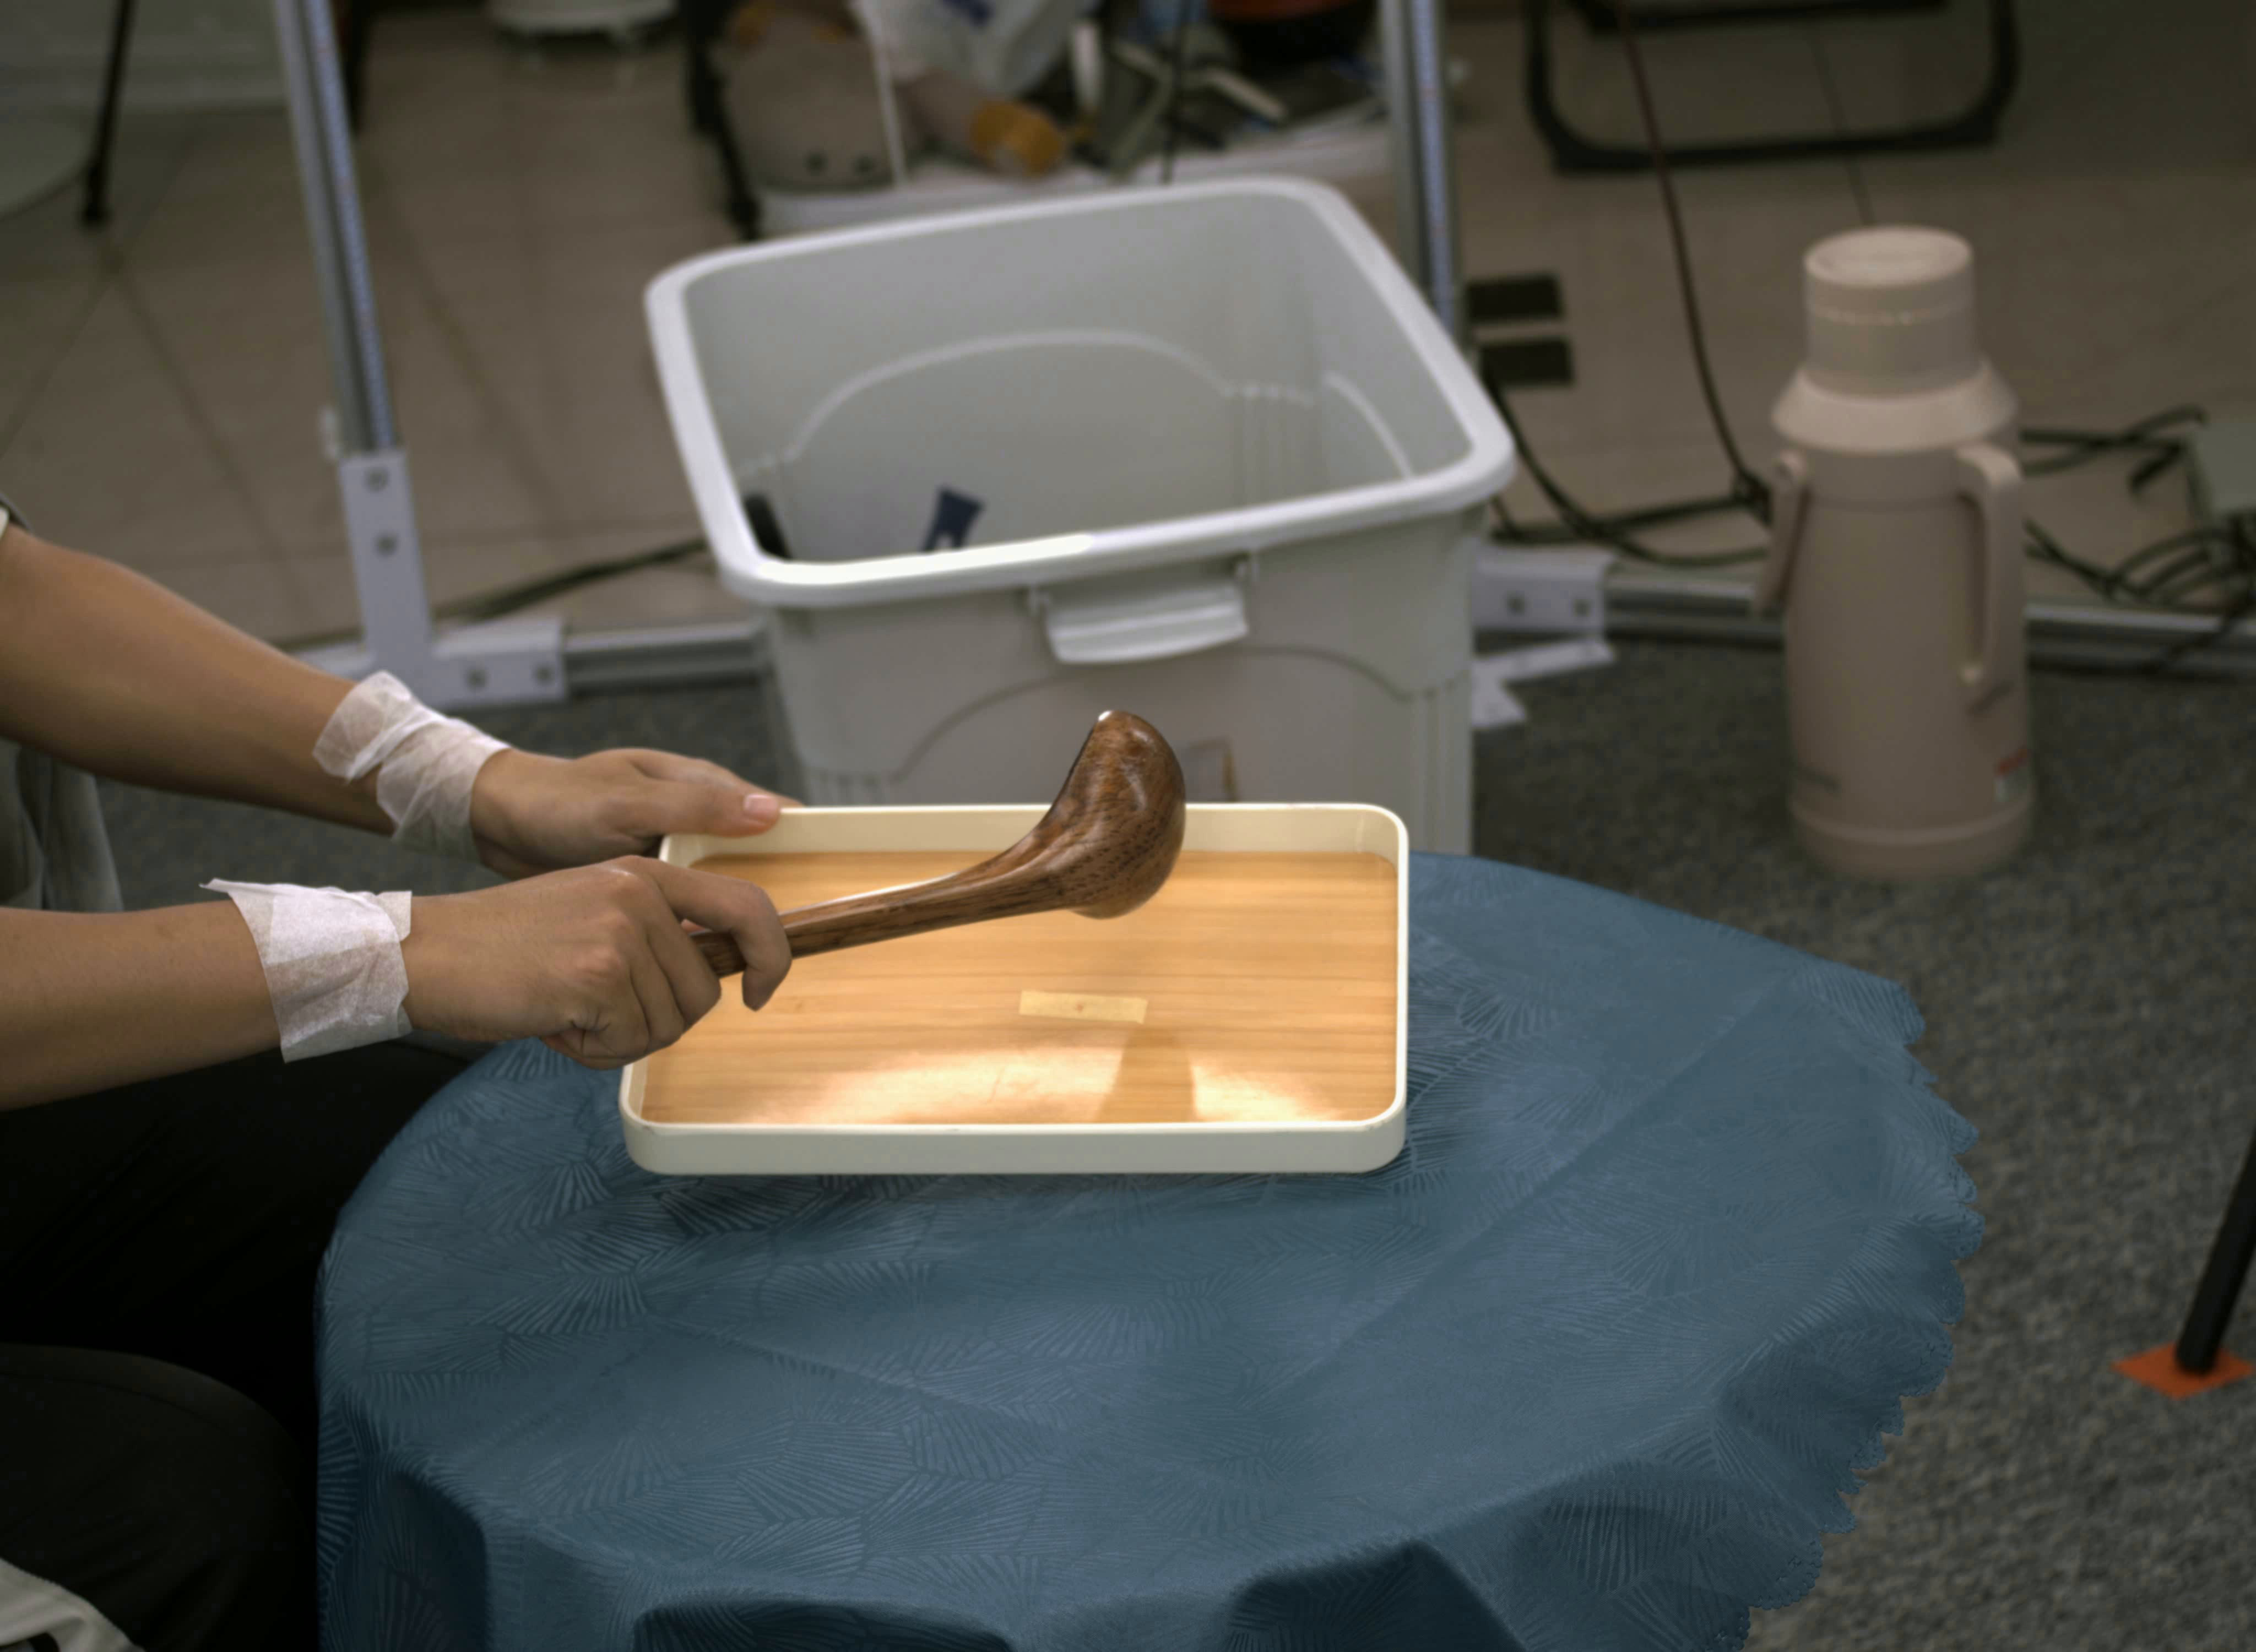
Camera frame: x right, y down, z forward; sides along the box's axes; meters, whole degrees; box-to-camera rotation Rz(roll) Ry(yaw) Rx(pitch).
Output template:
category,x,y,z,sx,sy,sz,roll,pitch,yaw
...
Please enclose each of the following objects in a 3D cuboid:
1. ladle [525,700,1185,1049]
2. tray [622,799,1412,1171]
category,x,y,z,sx,sy,sz,roll,pitch,yaw
ladle,-0.103,0.020,2.140,0.273,0.083,0.075,-15,28,-12
tray,-0.040,0.061,2.211,0.300,0.028,0.188,0,41,4
